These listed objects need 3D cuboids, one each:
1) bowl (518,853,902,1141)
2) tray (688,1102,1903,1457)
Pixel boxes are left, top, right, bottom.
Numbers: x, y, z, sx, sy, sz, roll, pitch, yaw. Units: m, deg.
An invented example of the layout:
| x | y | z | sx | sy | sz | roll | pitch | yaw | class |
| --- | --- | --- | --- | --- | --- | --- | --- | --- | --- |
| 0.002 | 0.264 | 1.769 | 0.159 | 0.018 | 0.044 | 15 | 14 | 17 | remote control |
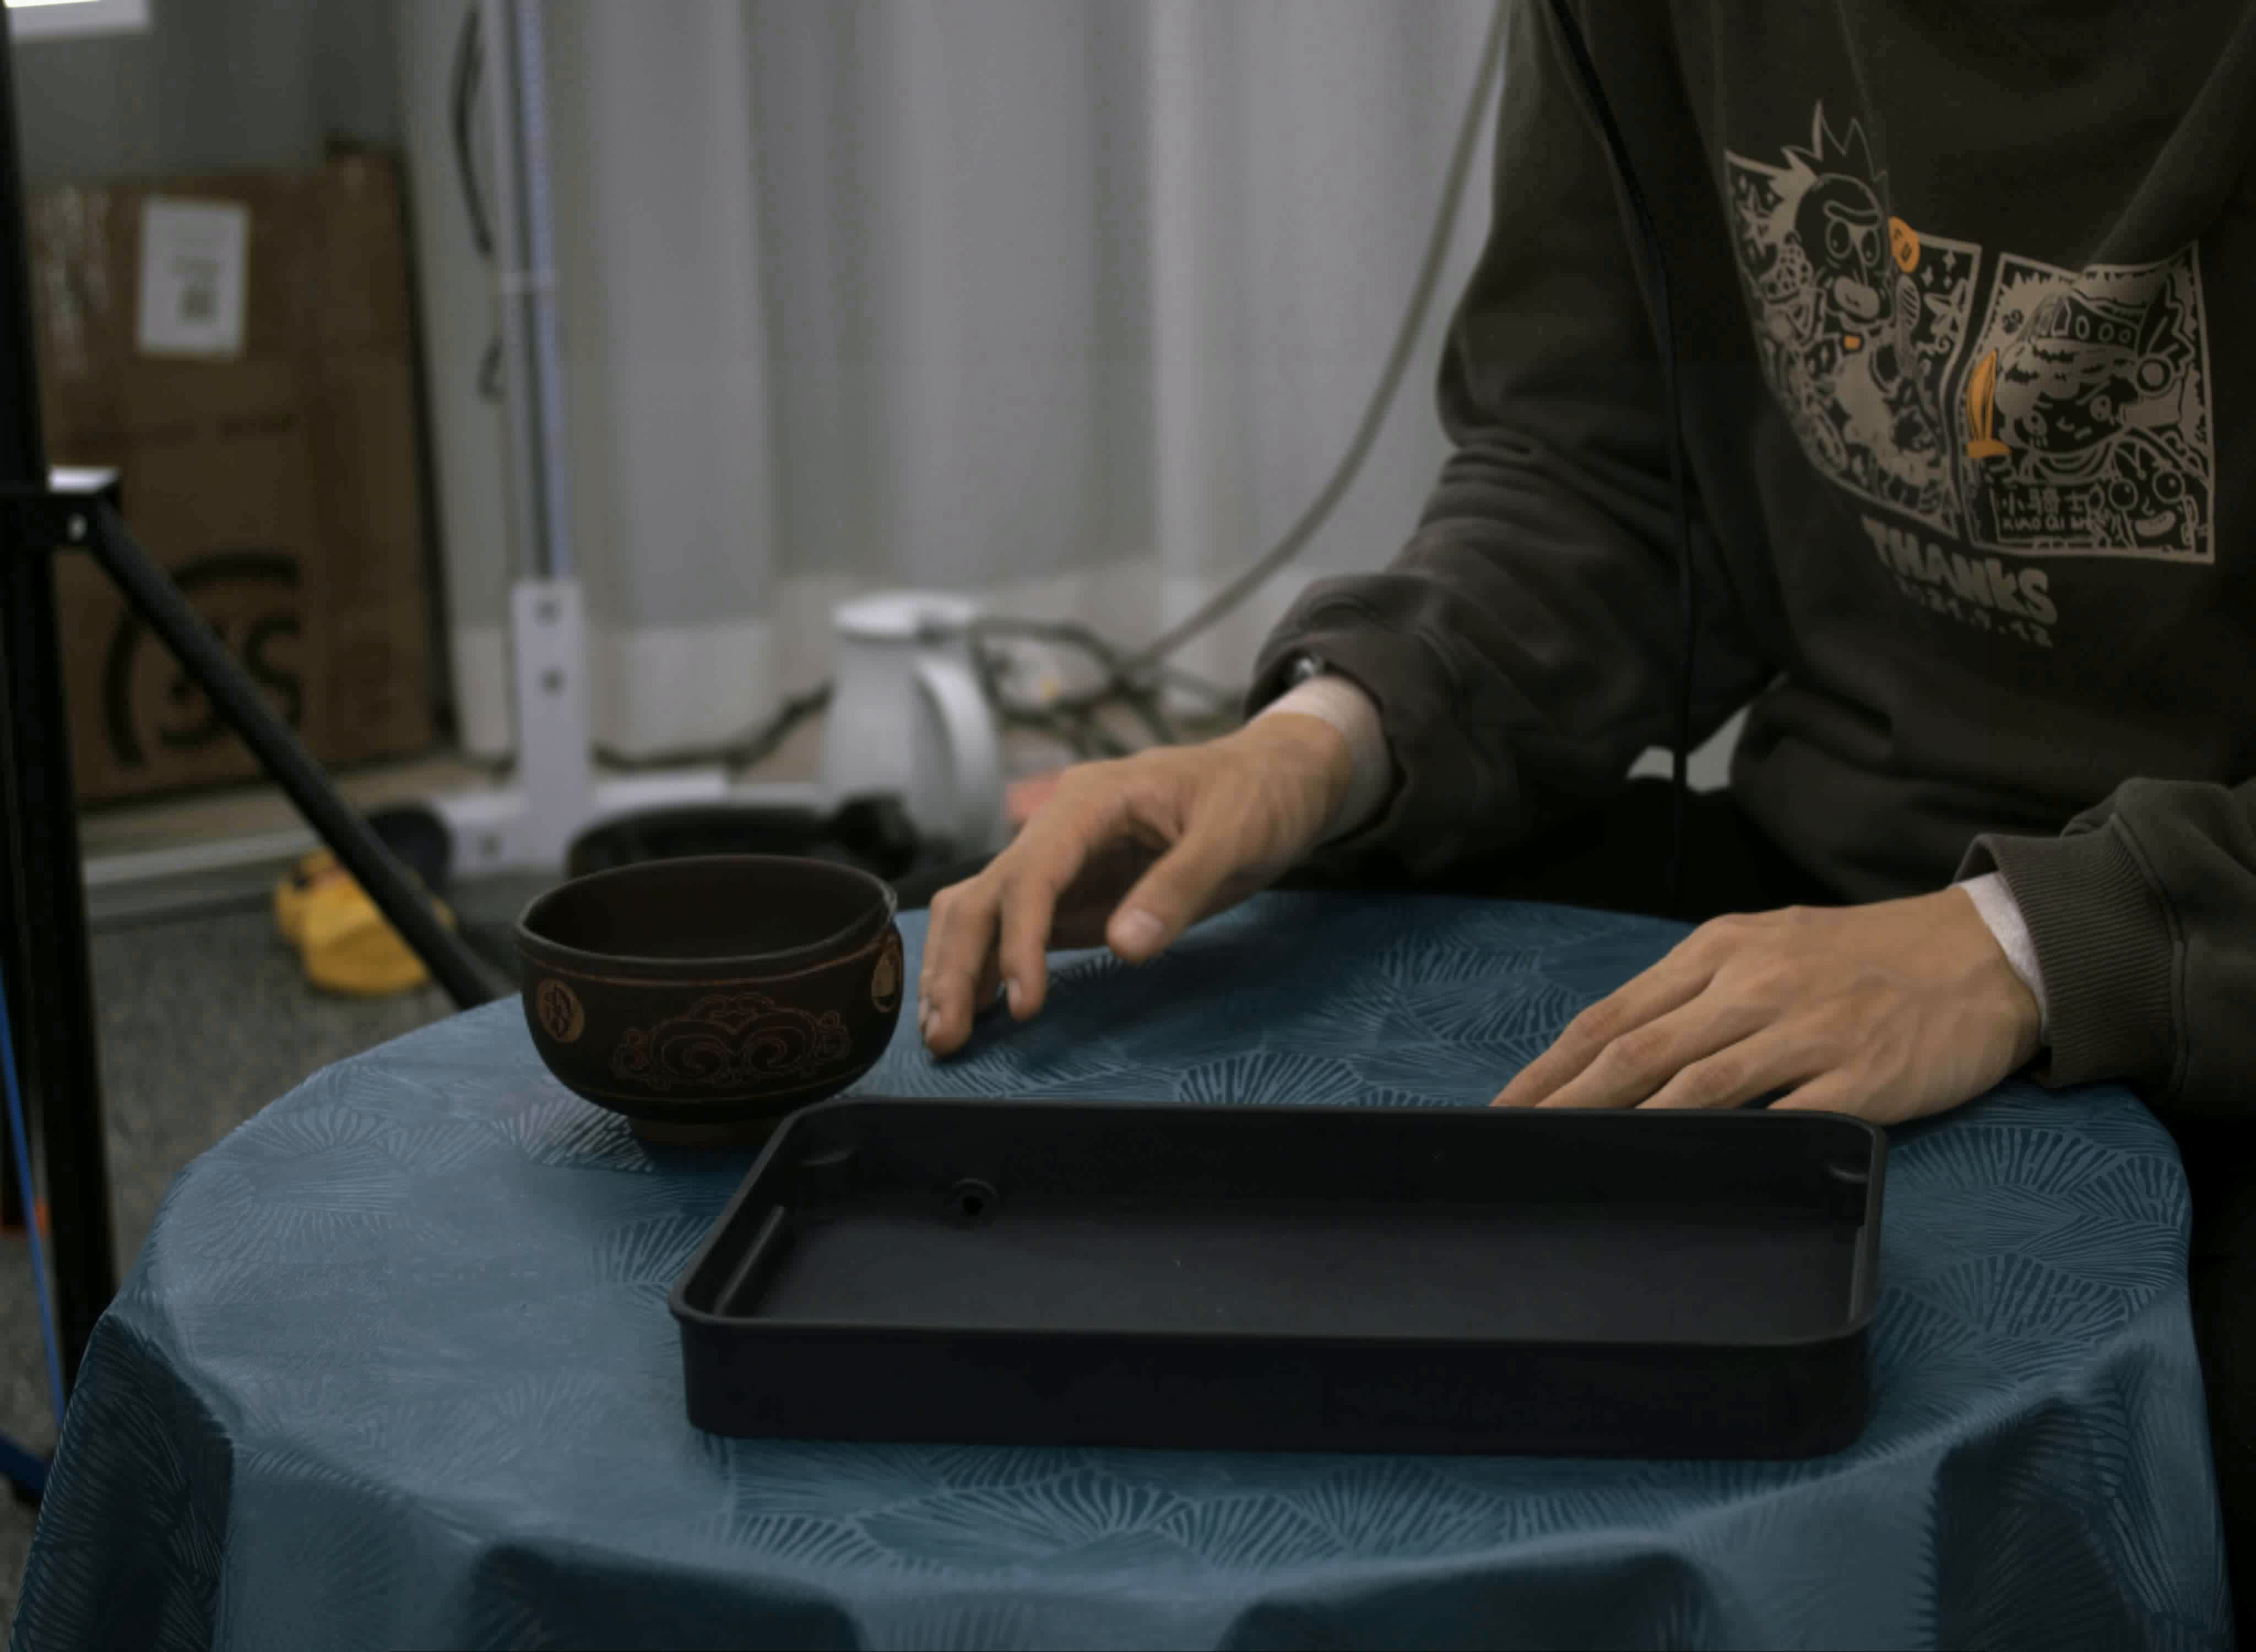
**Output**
| x | y | z | sx | sy | sz | roll | pitch | yaw | class |
| --- | --- | --- | --- | --- | --- | --- | --- | --- | --- |
| -0.128 | 0.056 | 1.638 | 0.117 | 0.070 | 0.118 | -2 | 14 | -1 | bowl |
| 0.051 | 0.121 | 1.443 | 0.319 | 0.037 | 0.184 | -1 | 15 | 9 | tray |
